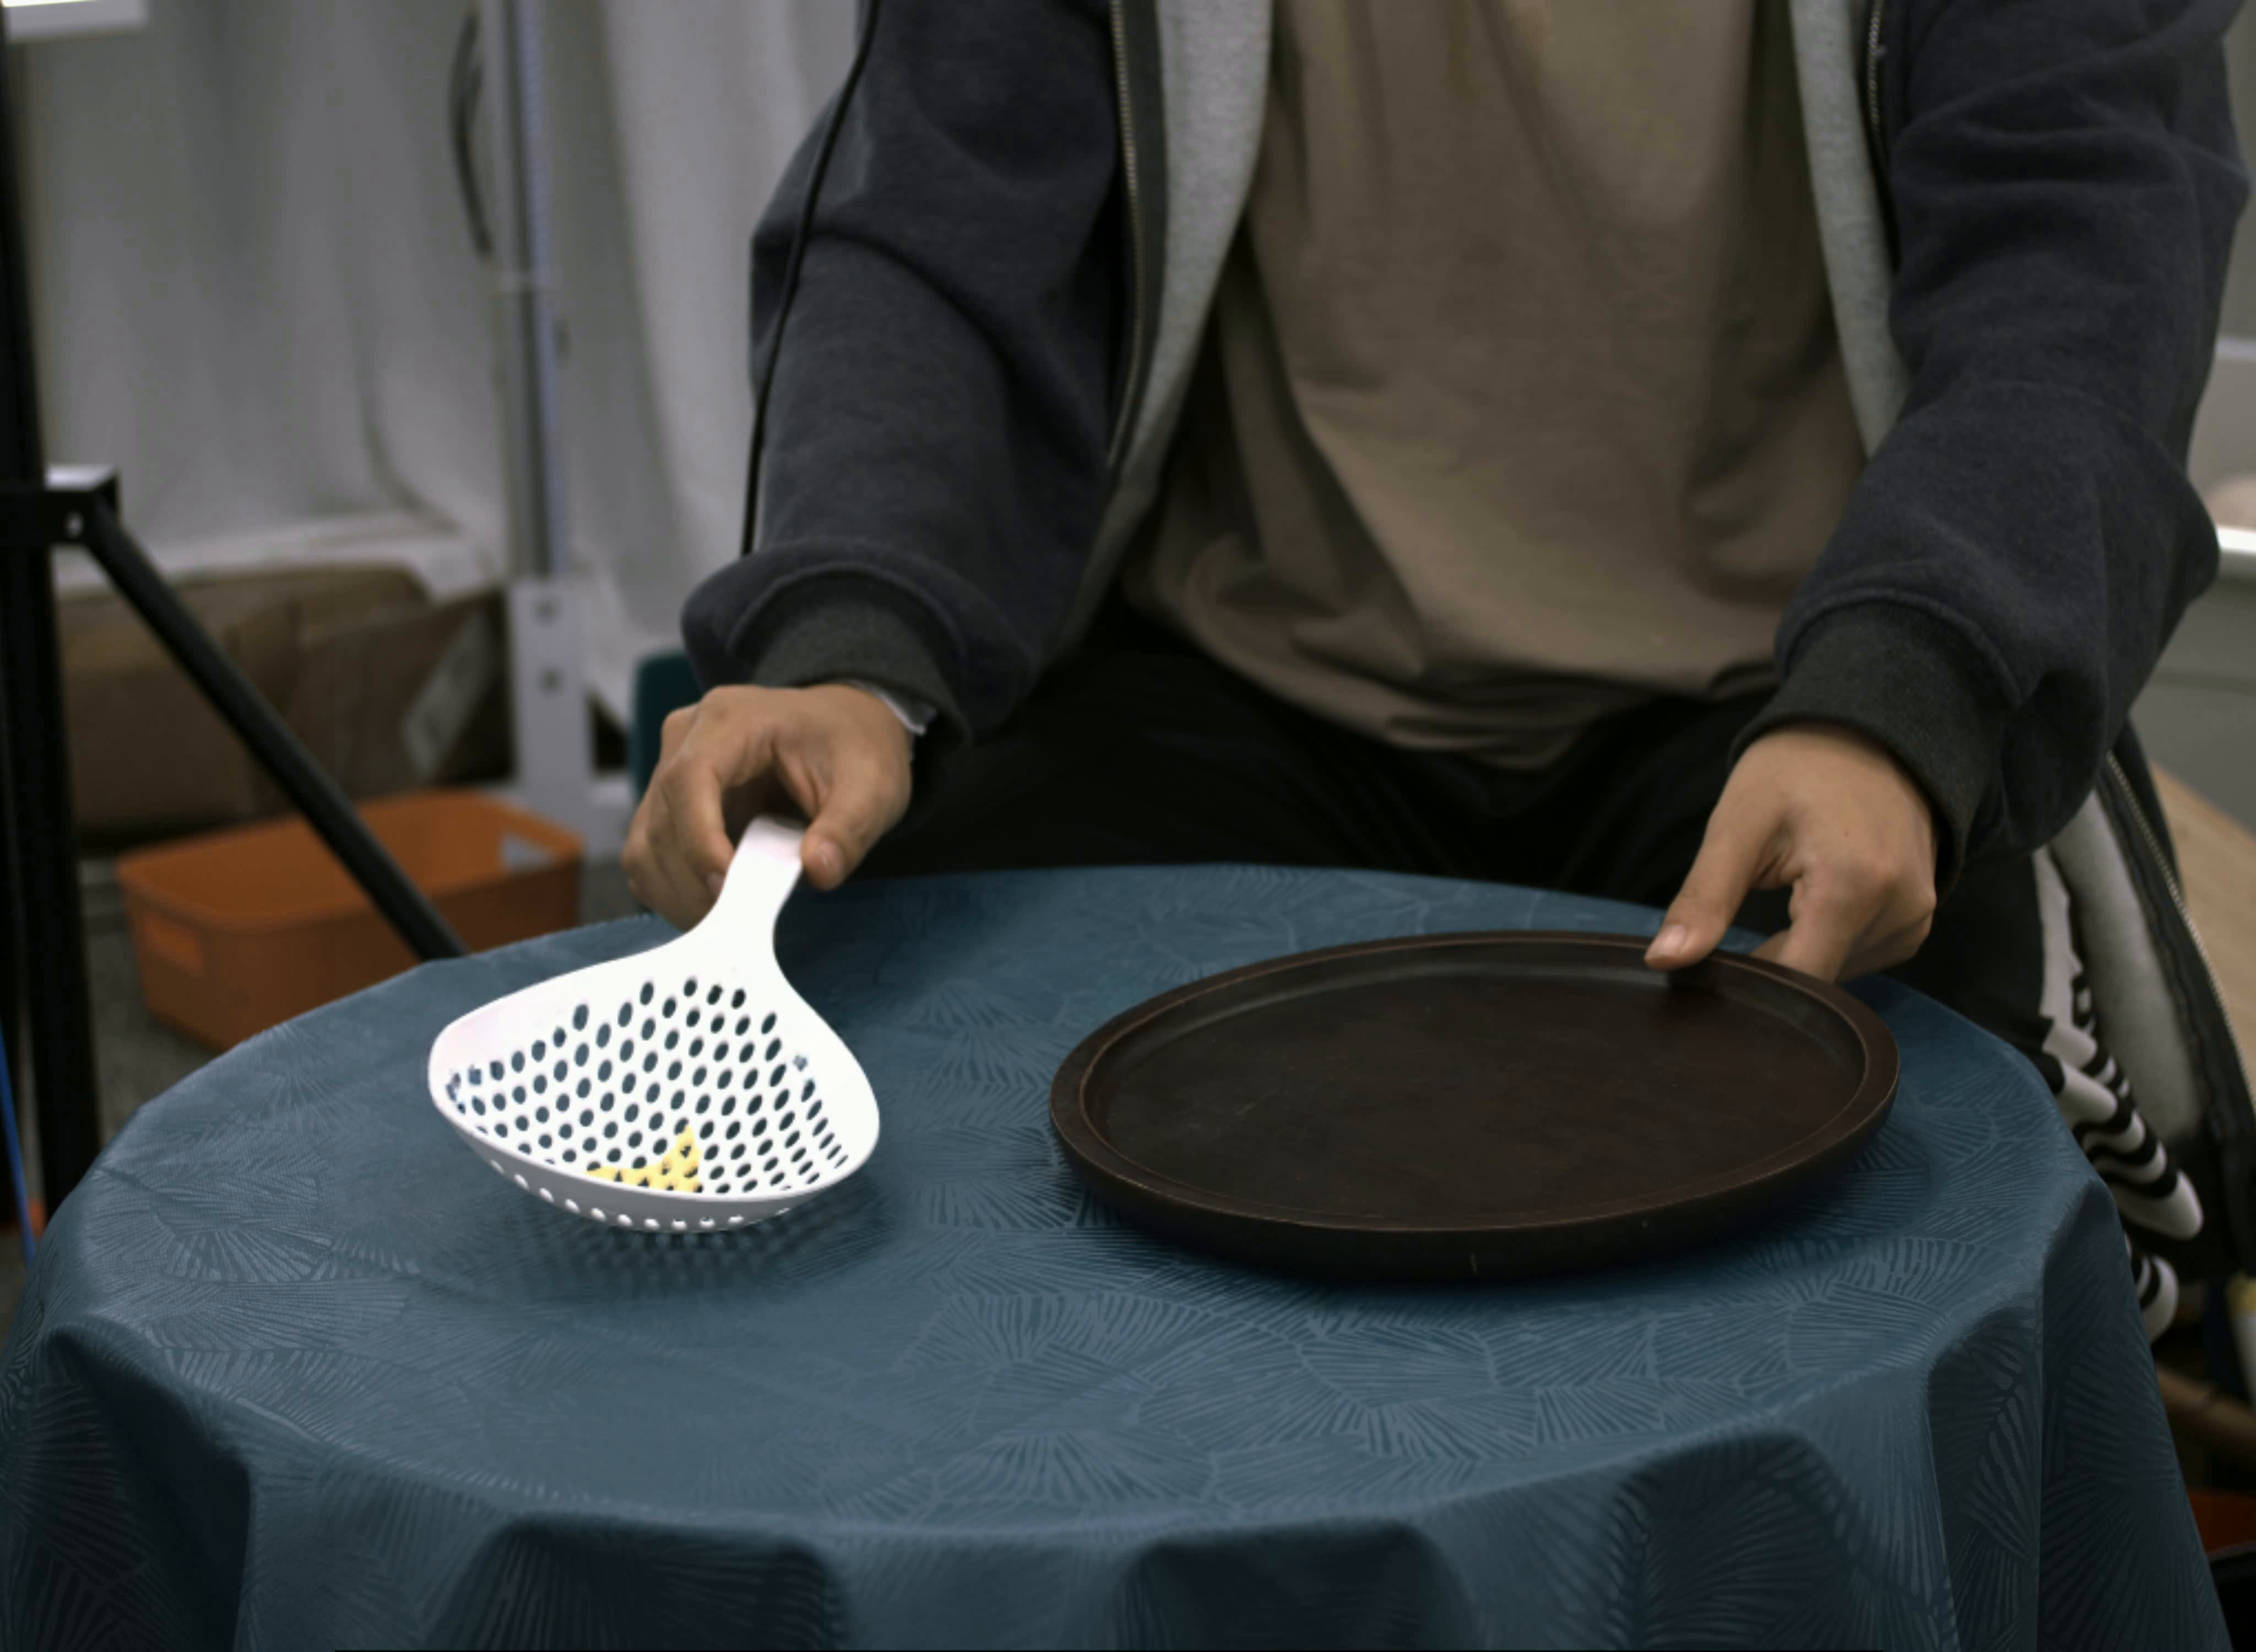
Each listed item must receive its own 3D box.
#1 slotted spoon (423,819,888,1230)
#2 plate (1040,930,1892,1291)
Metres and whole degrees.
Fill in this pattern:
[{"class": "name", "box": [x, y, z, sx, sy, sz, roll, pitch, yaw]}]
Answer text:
[{"class": "slotted spoon", "box": [-0.129, 0.049, 1.661, 0.136, 0.050, 0.348, 9, 24, 2]}, {"class": "plate", "box": [0.101, 0.082, 1.575, 0.254, 0.029, 0.256, -6, 17, 0]}]
